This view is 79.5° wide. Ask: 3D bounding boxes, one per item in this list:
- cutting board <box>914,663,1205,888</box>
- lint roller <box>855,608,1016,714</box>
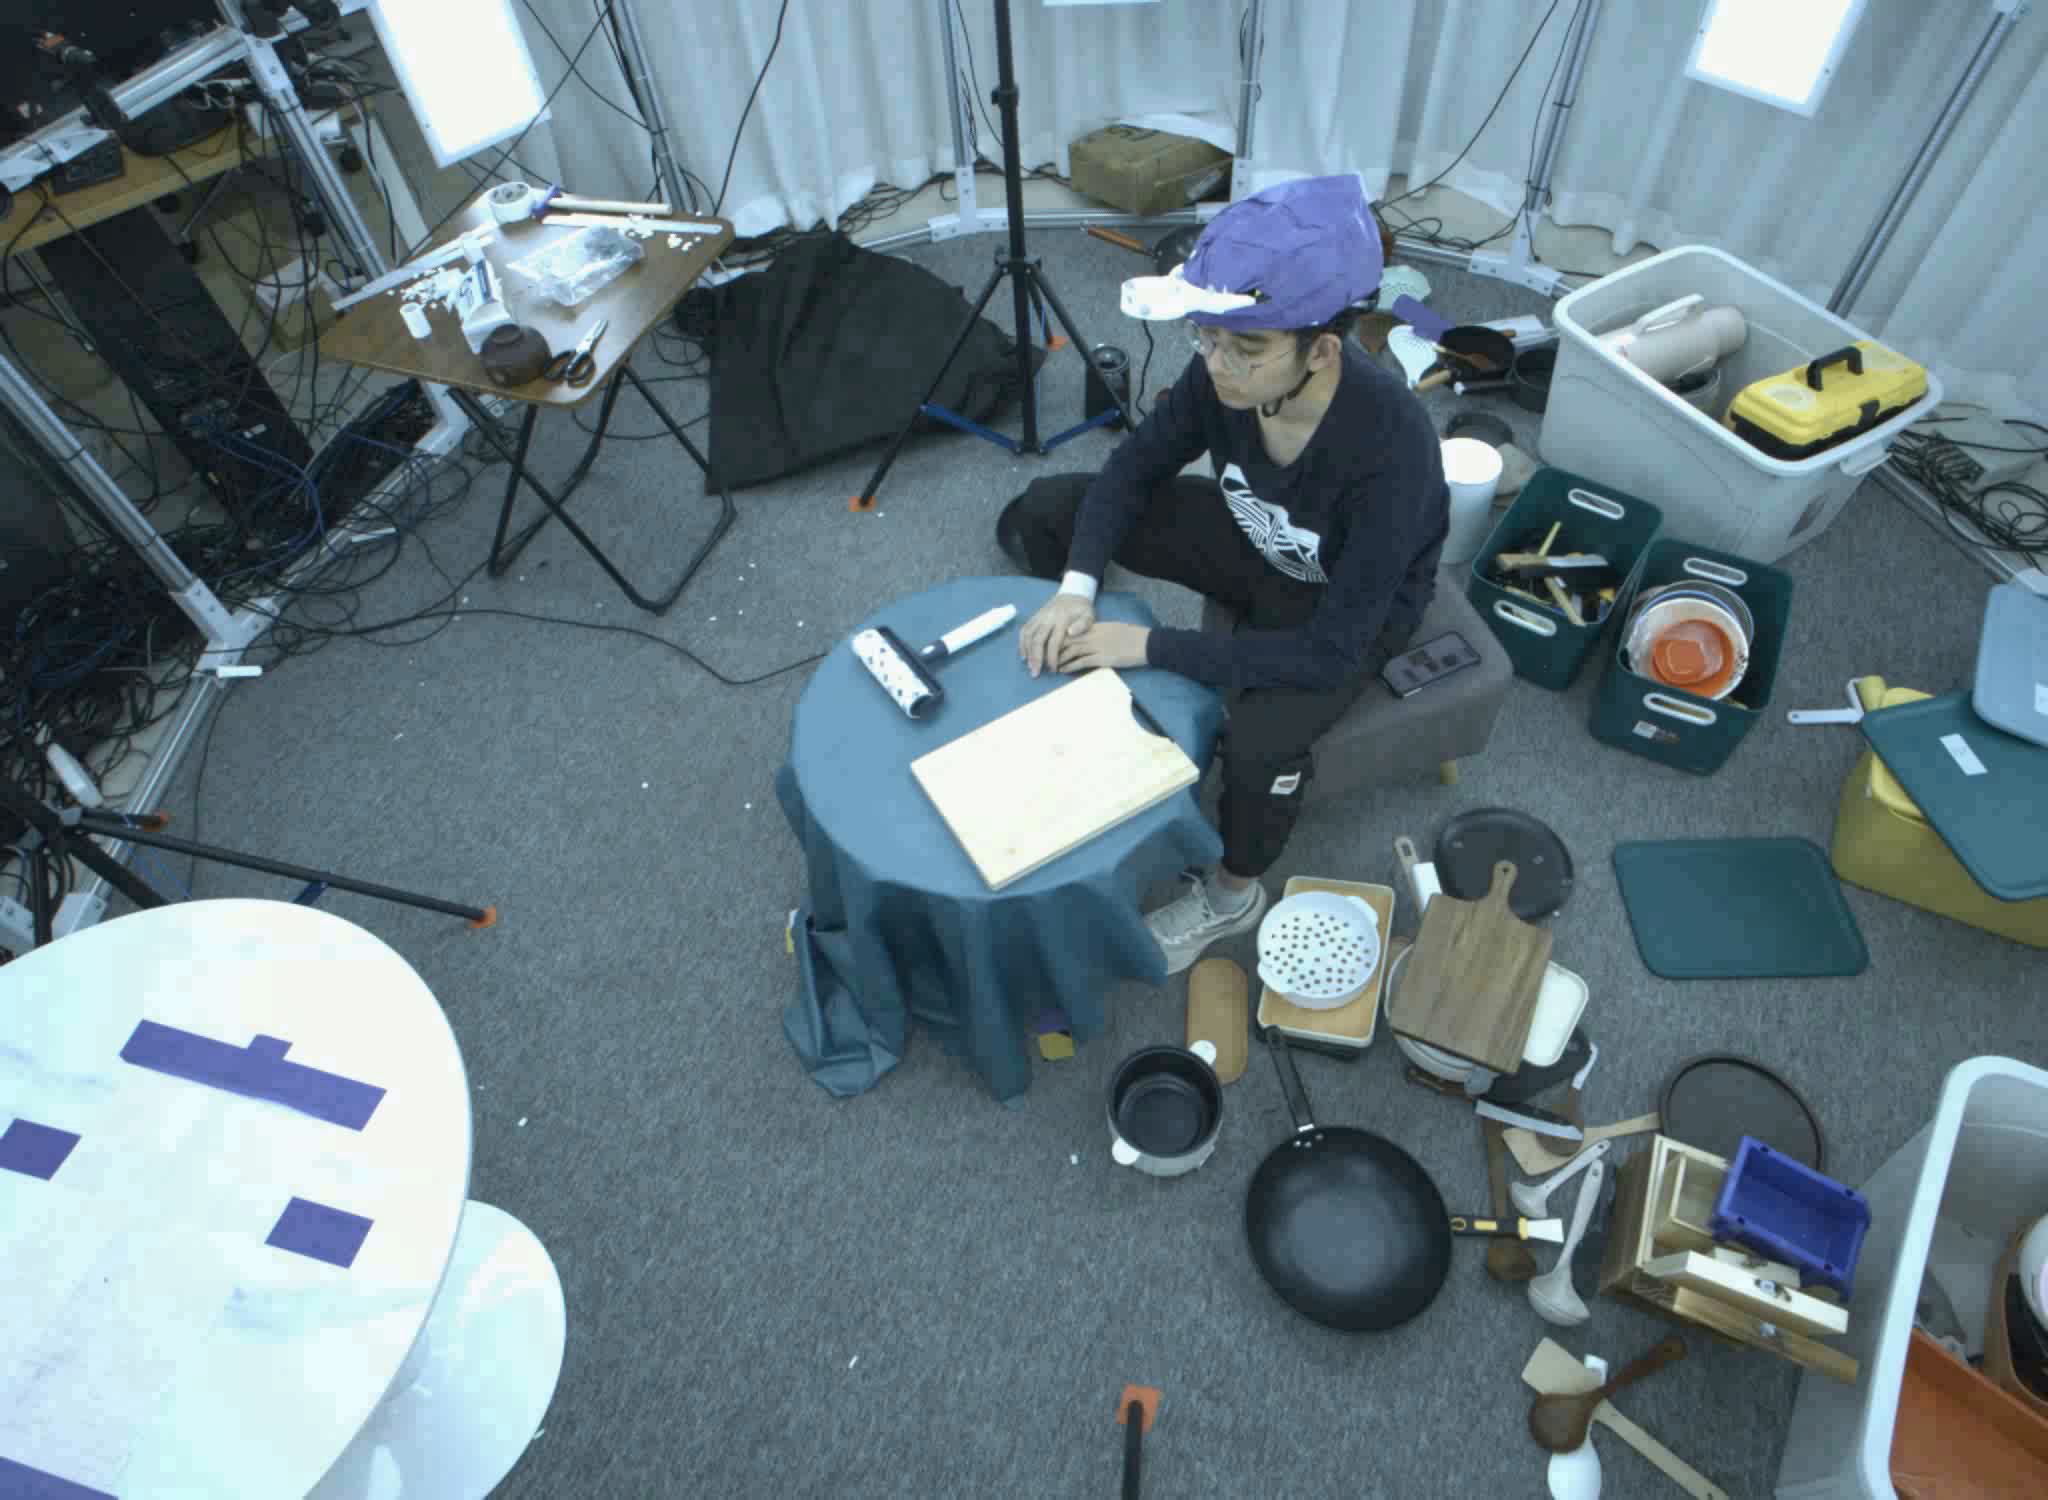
[{"bbox_3d":[0.046,0.027,1.765,0.351,0.024,0.246,-28,59,-17],"label":"cutting board"},{"bbox_3d":[-0.118,-0.167,1.893,0.249,0.051,0.173,-31,58,-22],"label":"lint roller"}]
